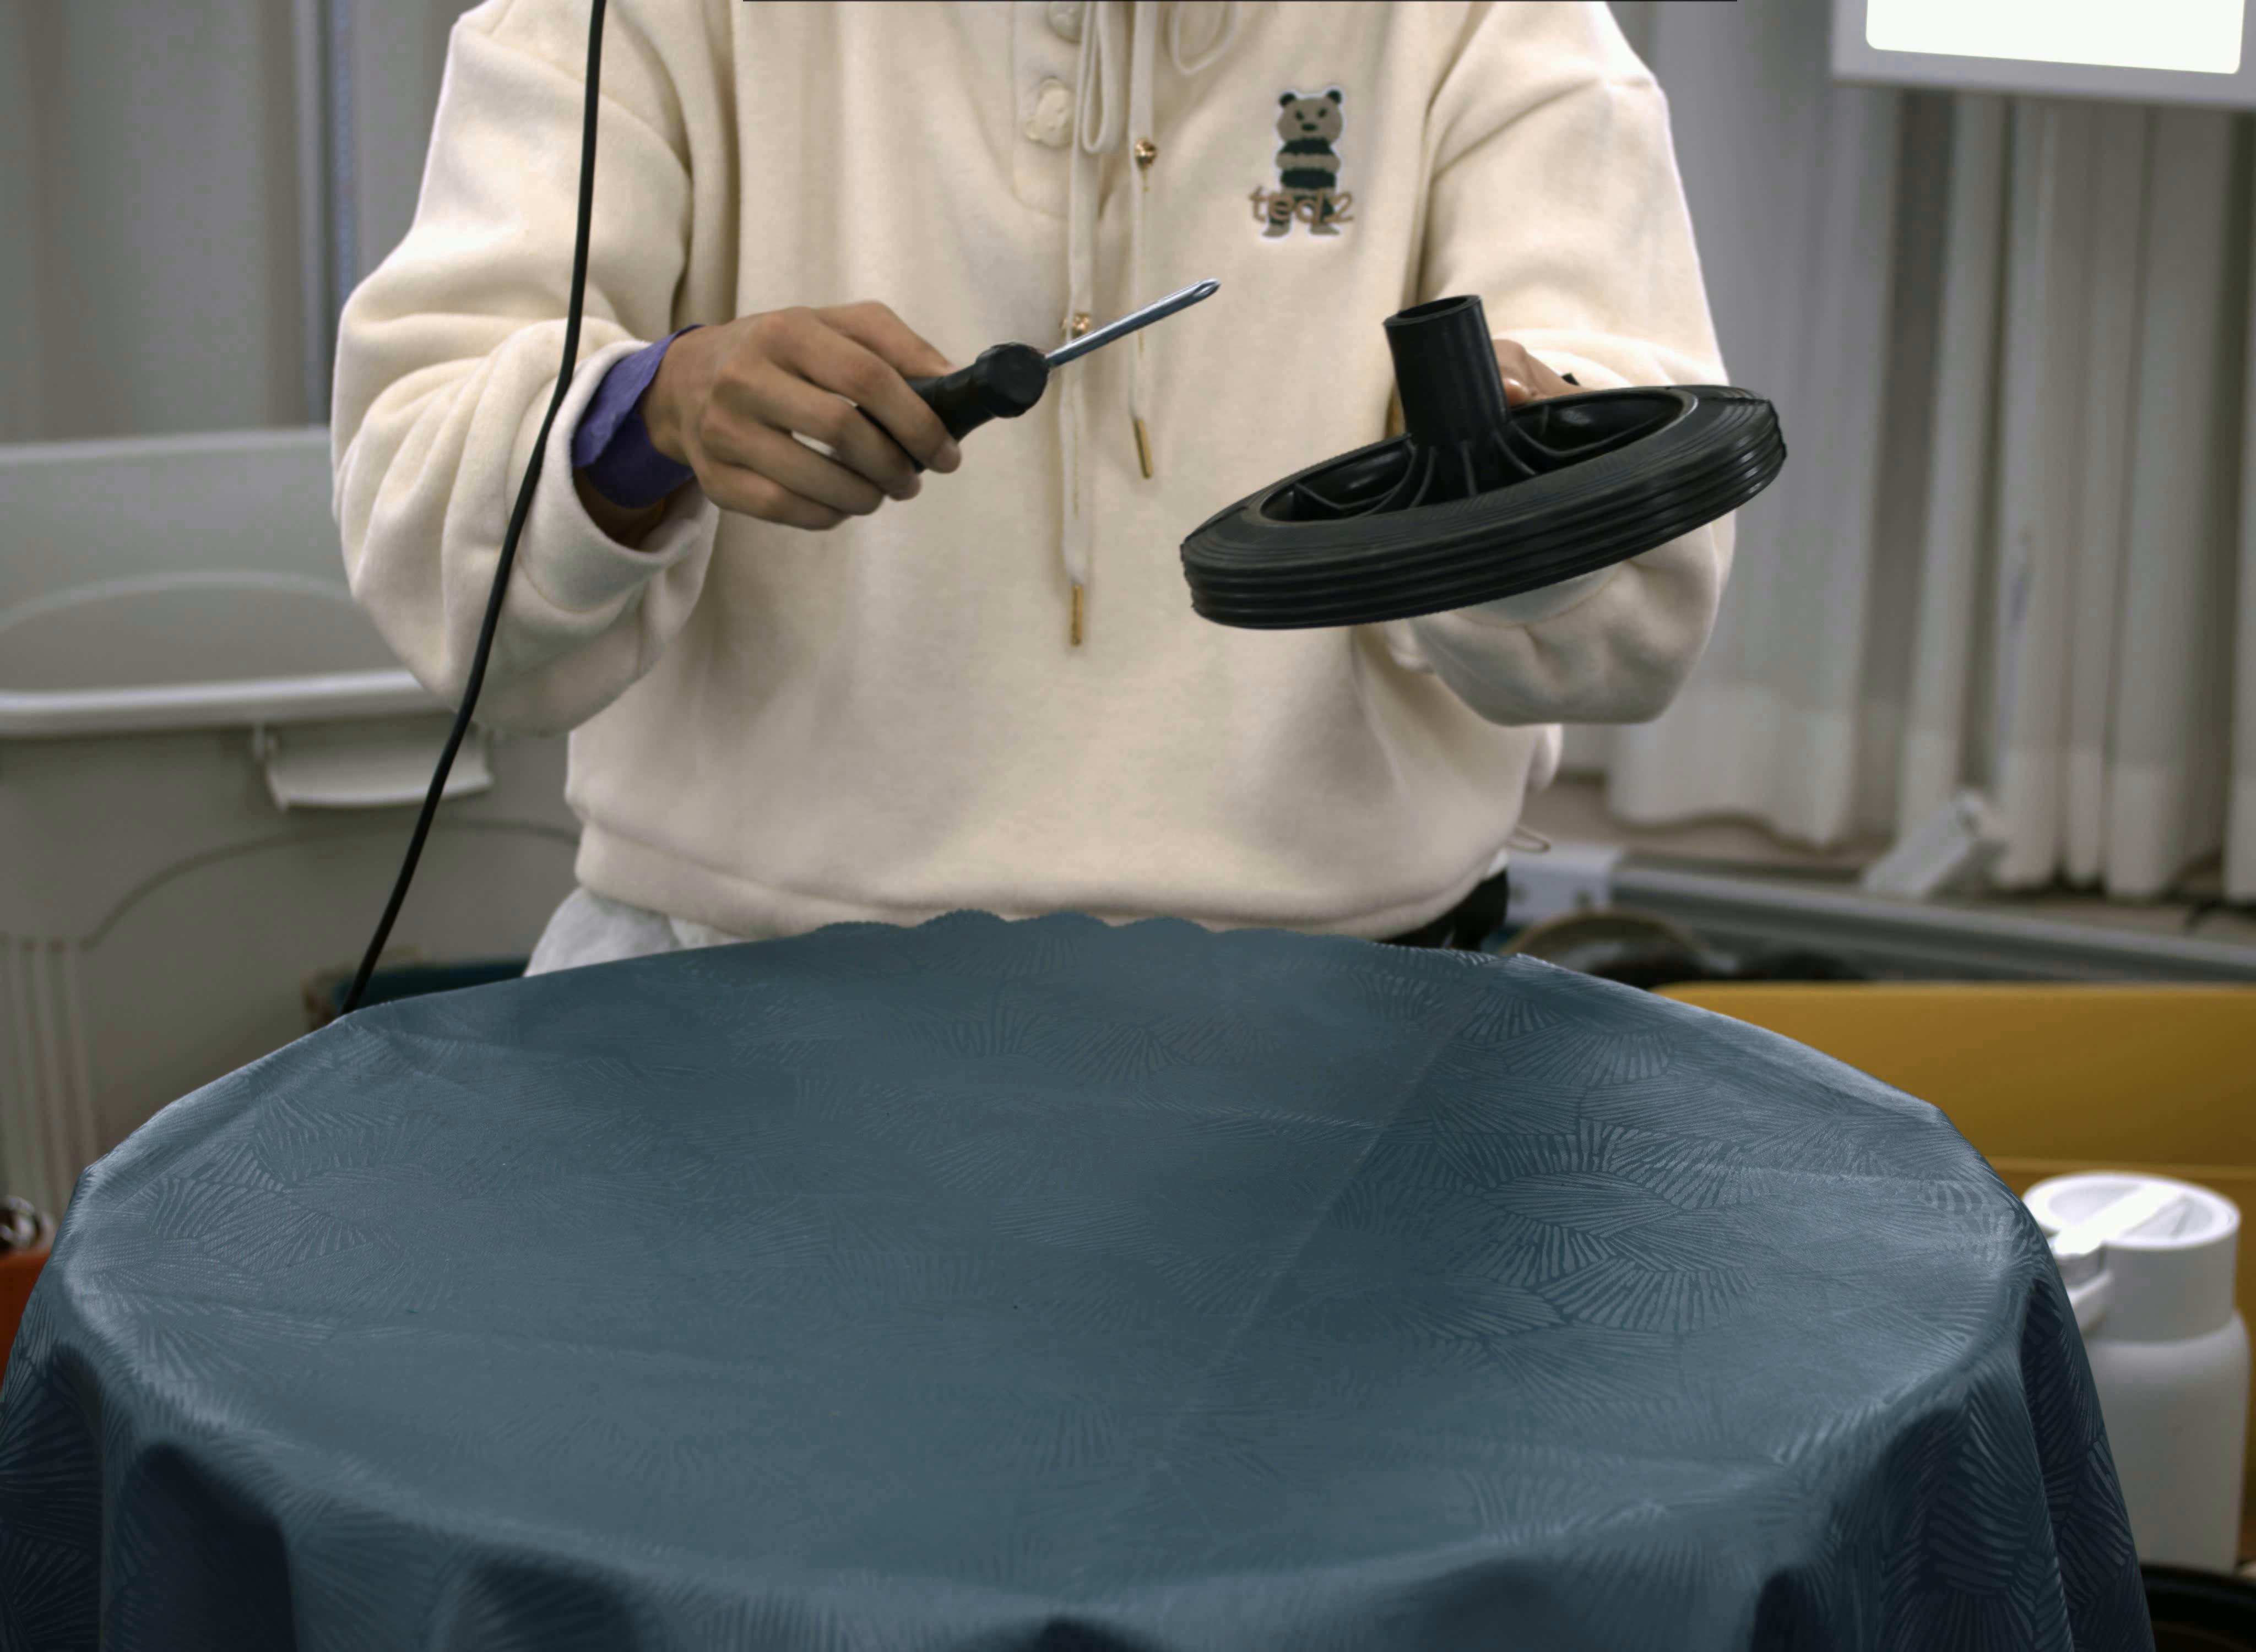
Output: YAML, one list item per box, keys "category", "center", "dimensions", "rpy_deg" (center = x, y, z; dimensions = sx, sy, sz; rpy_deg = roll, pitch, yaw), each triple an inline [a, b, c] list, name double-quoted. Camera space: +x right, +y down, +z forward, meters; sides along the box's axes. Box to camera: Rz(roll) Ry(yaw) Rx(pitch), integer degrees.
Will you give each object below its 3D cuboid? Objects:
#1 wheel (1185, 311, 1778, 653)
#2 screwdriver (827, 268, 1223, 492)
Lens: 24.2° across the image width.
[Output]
- category: "wheel"
  center: [0.101, -0.115, 1.613]
  dimensions: [0.185, 0.080, 0.190]
  rpy_deg: [-3, 21, 44]
- category: "screwdriver"
  center: [-0.033, -0.150, 1.714]
  dimensions: [0.031, 0.031, 0.195]
  rpy_deg: [-16, -6, -46]
